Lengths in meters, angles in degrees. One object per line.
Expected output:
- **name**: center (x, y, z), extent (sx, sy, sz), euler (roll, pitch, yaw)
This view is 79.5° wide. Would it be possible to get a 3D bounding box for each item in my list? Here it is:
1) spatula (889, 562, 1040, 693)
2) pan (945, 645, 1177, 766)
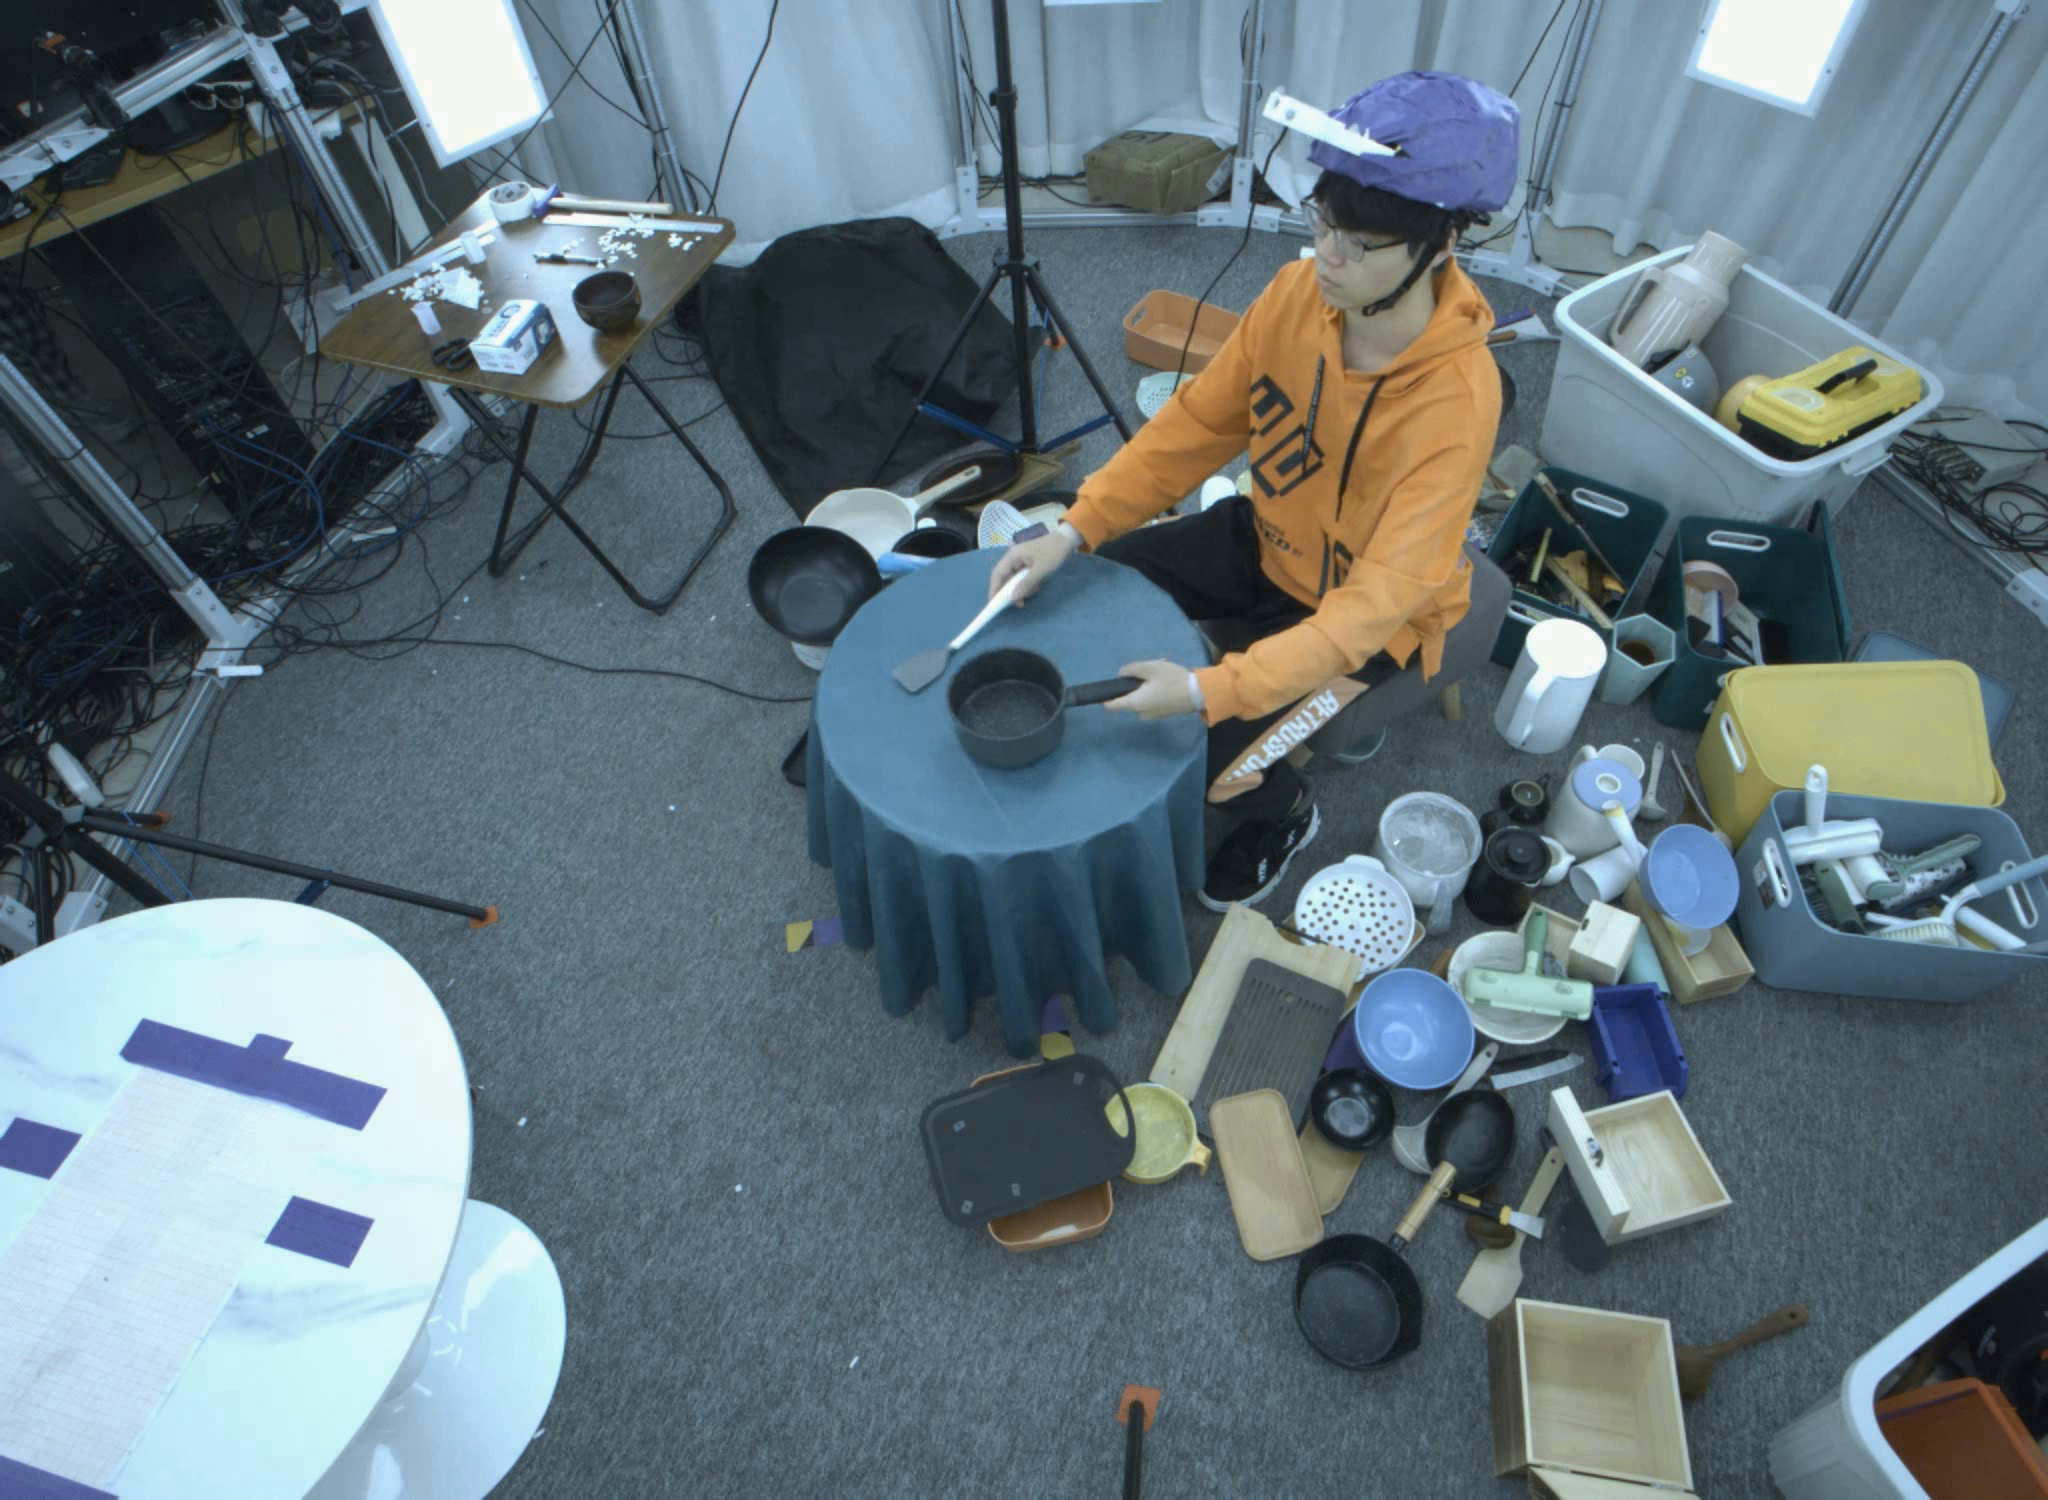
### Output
- **spatula**: center (-0.088, -0.190, 1.896), extent (0.289, 0.032, 0.058), euler (-43, 75, -15)
- **pan**: center (0.056, -0.068, 1.764), extent (0.328, 0.087, 0.170), euler (-3, 56, 3)
